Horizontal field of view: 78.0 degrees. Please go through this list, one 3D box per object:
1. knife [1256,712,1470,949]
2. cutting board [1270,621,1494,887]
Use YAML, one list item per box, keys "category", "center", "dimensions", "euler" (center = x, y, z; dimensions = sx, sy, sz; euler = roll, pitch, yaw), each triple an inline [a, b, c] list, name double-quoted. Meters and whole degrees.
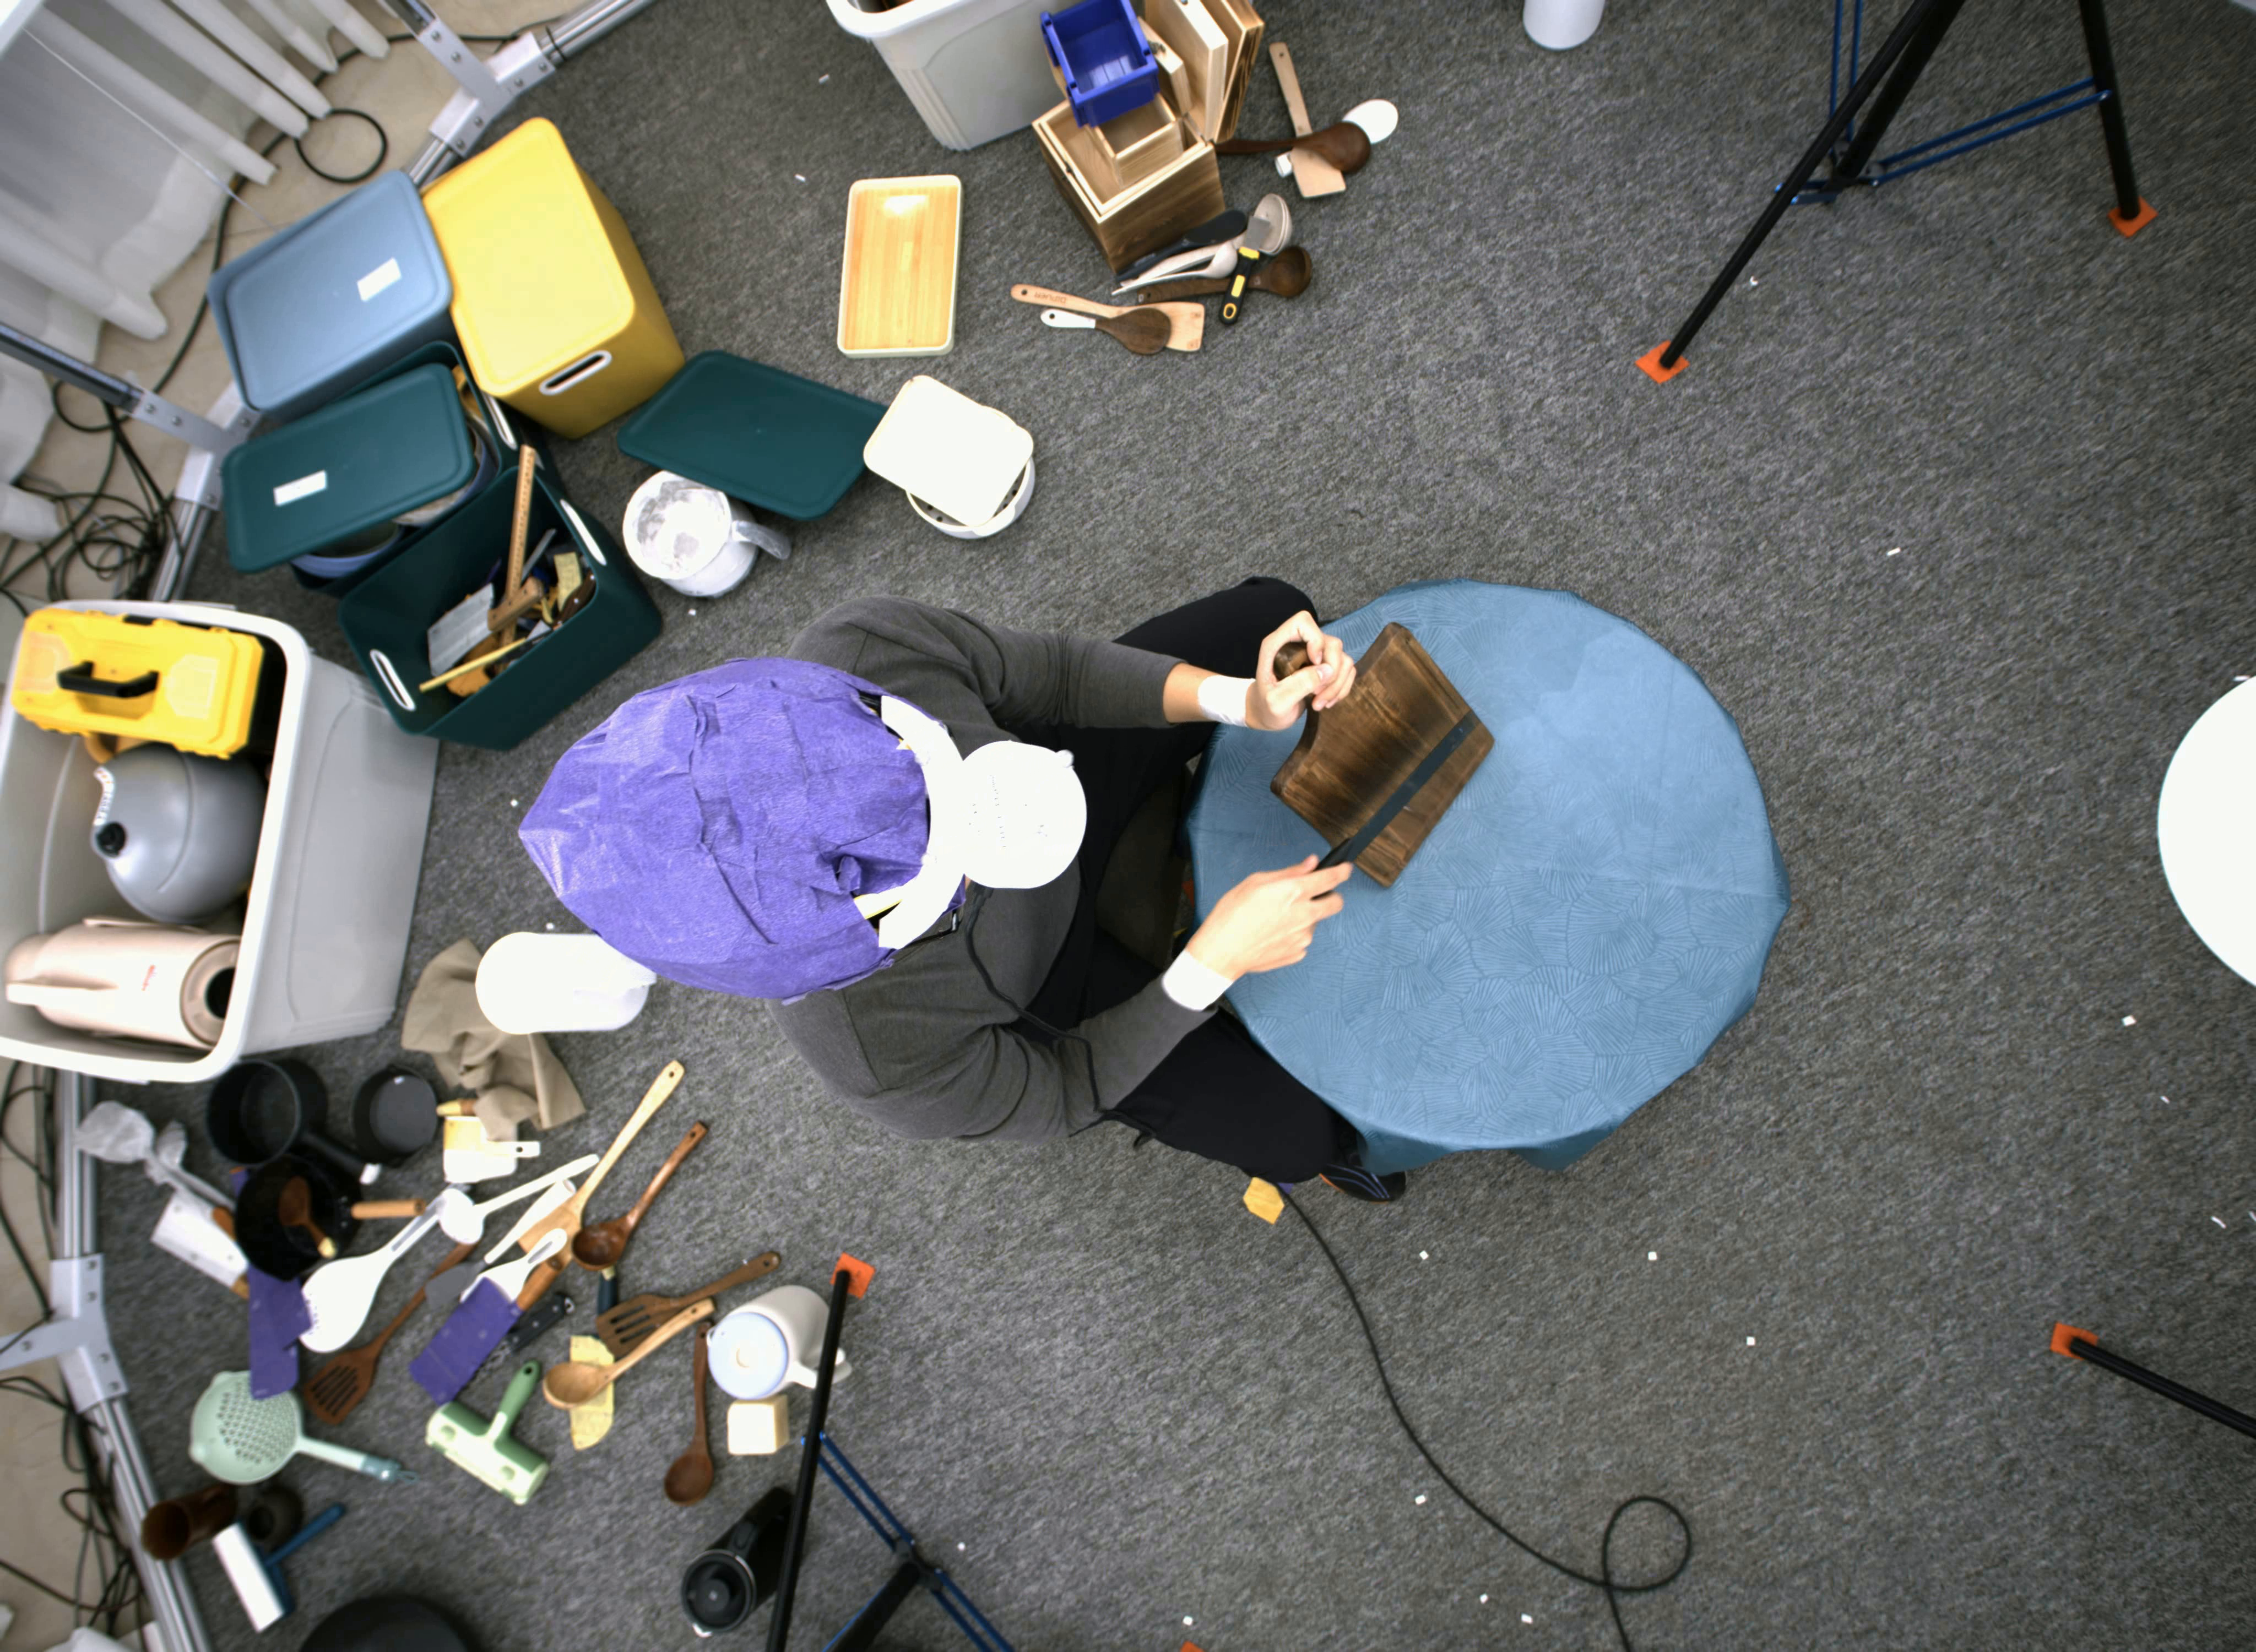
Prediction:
- category: "knife"
  center: [0.228, 0.004, 1.312]
  dimensions: [0.300, 0.082, 0.020]
  euler: [-44, 68, -10]
- category: "cutting board"
  center: [0.231, -0.082, 1.317]
  dimensions: [0.023, 0.355, 0.201]
  euler: [38, 93, 41]
